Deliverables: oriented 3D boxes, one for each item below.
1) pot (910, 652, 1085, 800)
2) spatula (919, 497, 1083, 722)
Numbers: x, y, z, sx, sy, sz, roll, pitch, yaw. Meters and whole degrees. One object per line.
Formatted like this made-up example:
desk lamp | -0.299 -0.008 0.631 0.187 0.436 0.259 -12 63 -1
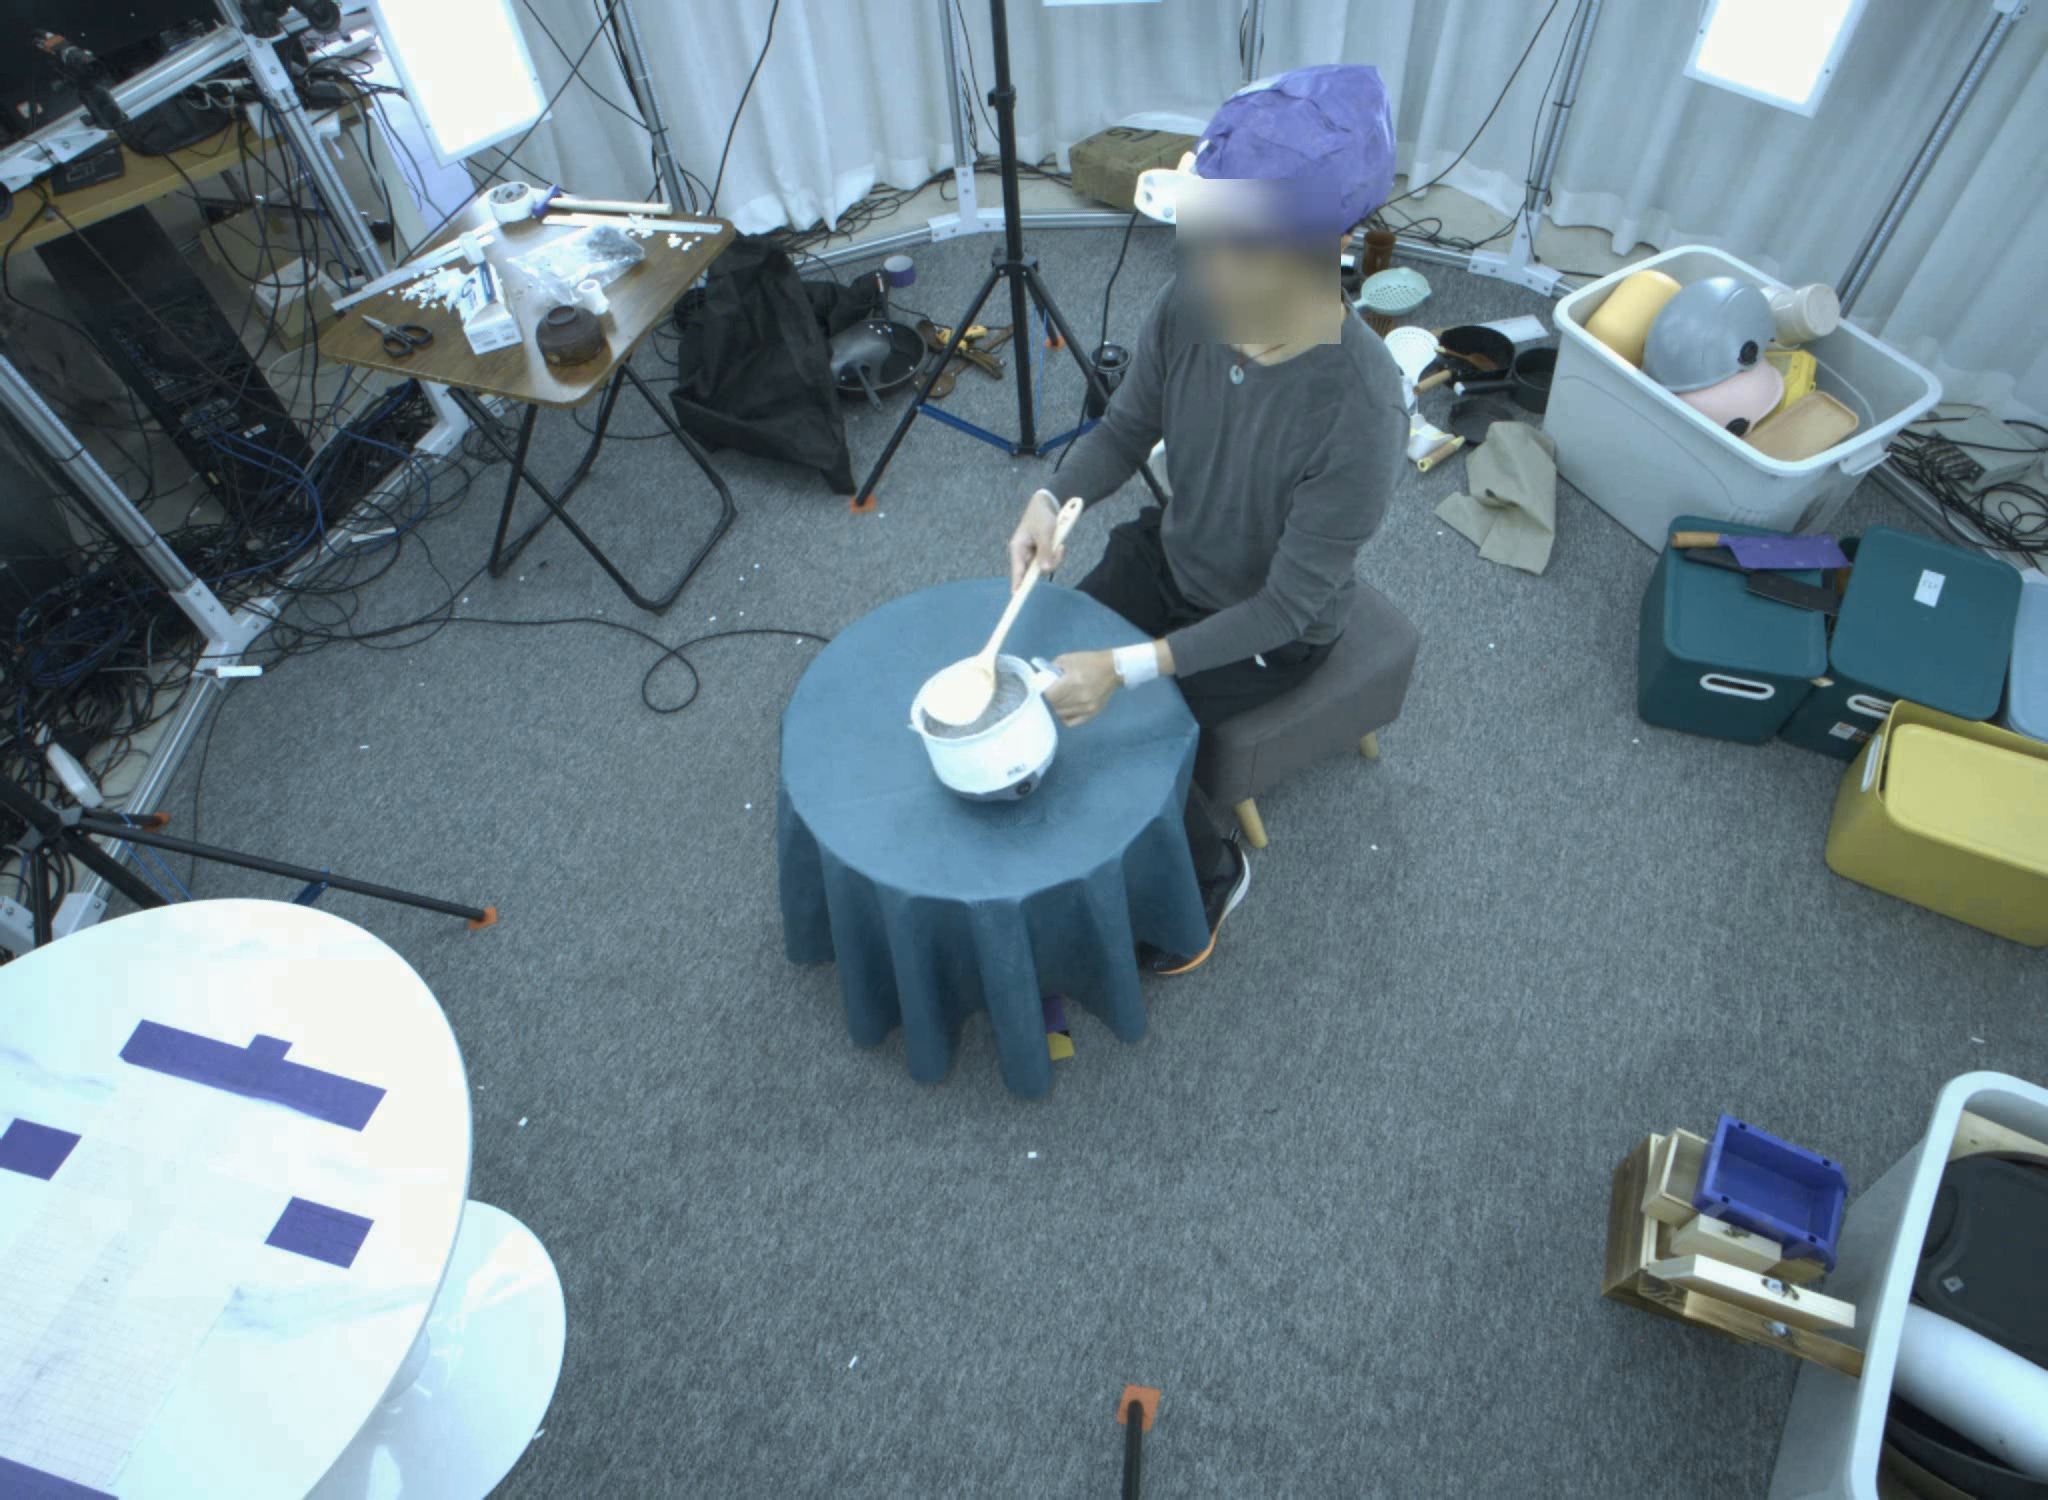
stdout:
pot | -0.029 -0.043 1.707 0.235 0.139 0.174 -31 43 -11
spatula | -0.020 -0.204 1.721 0.094 0.019 0.391 21 74 27
